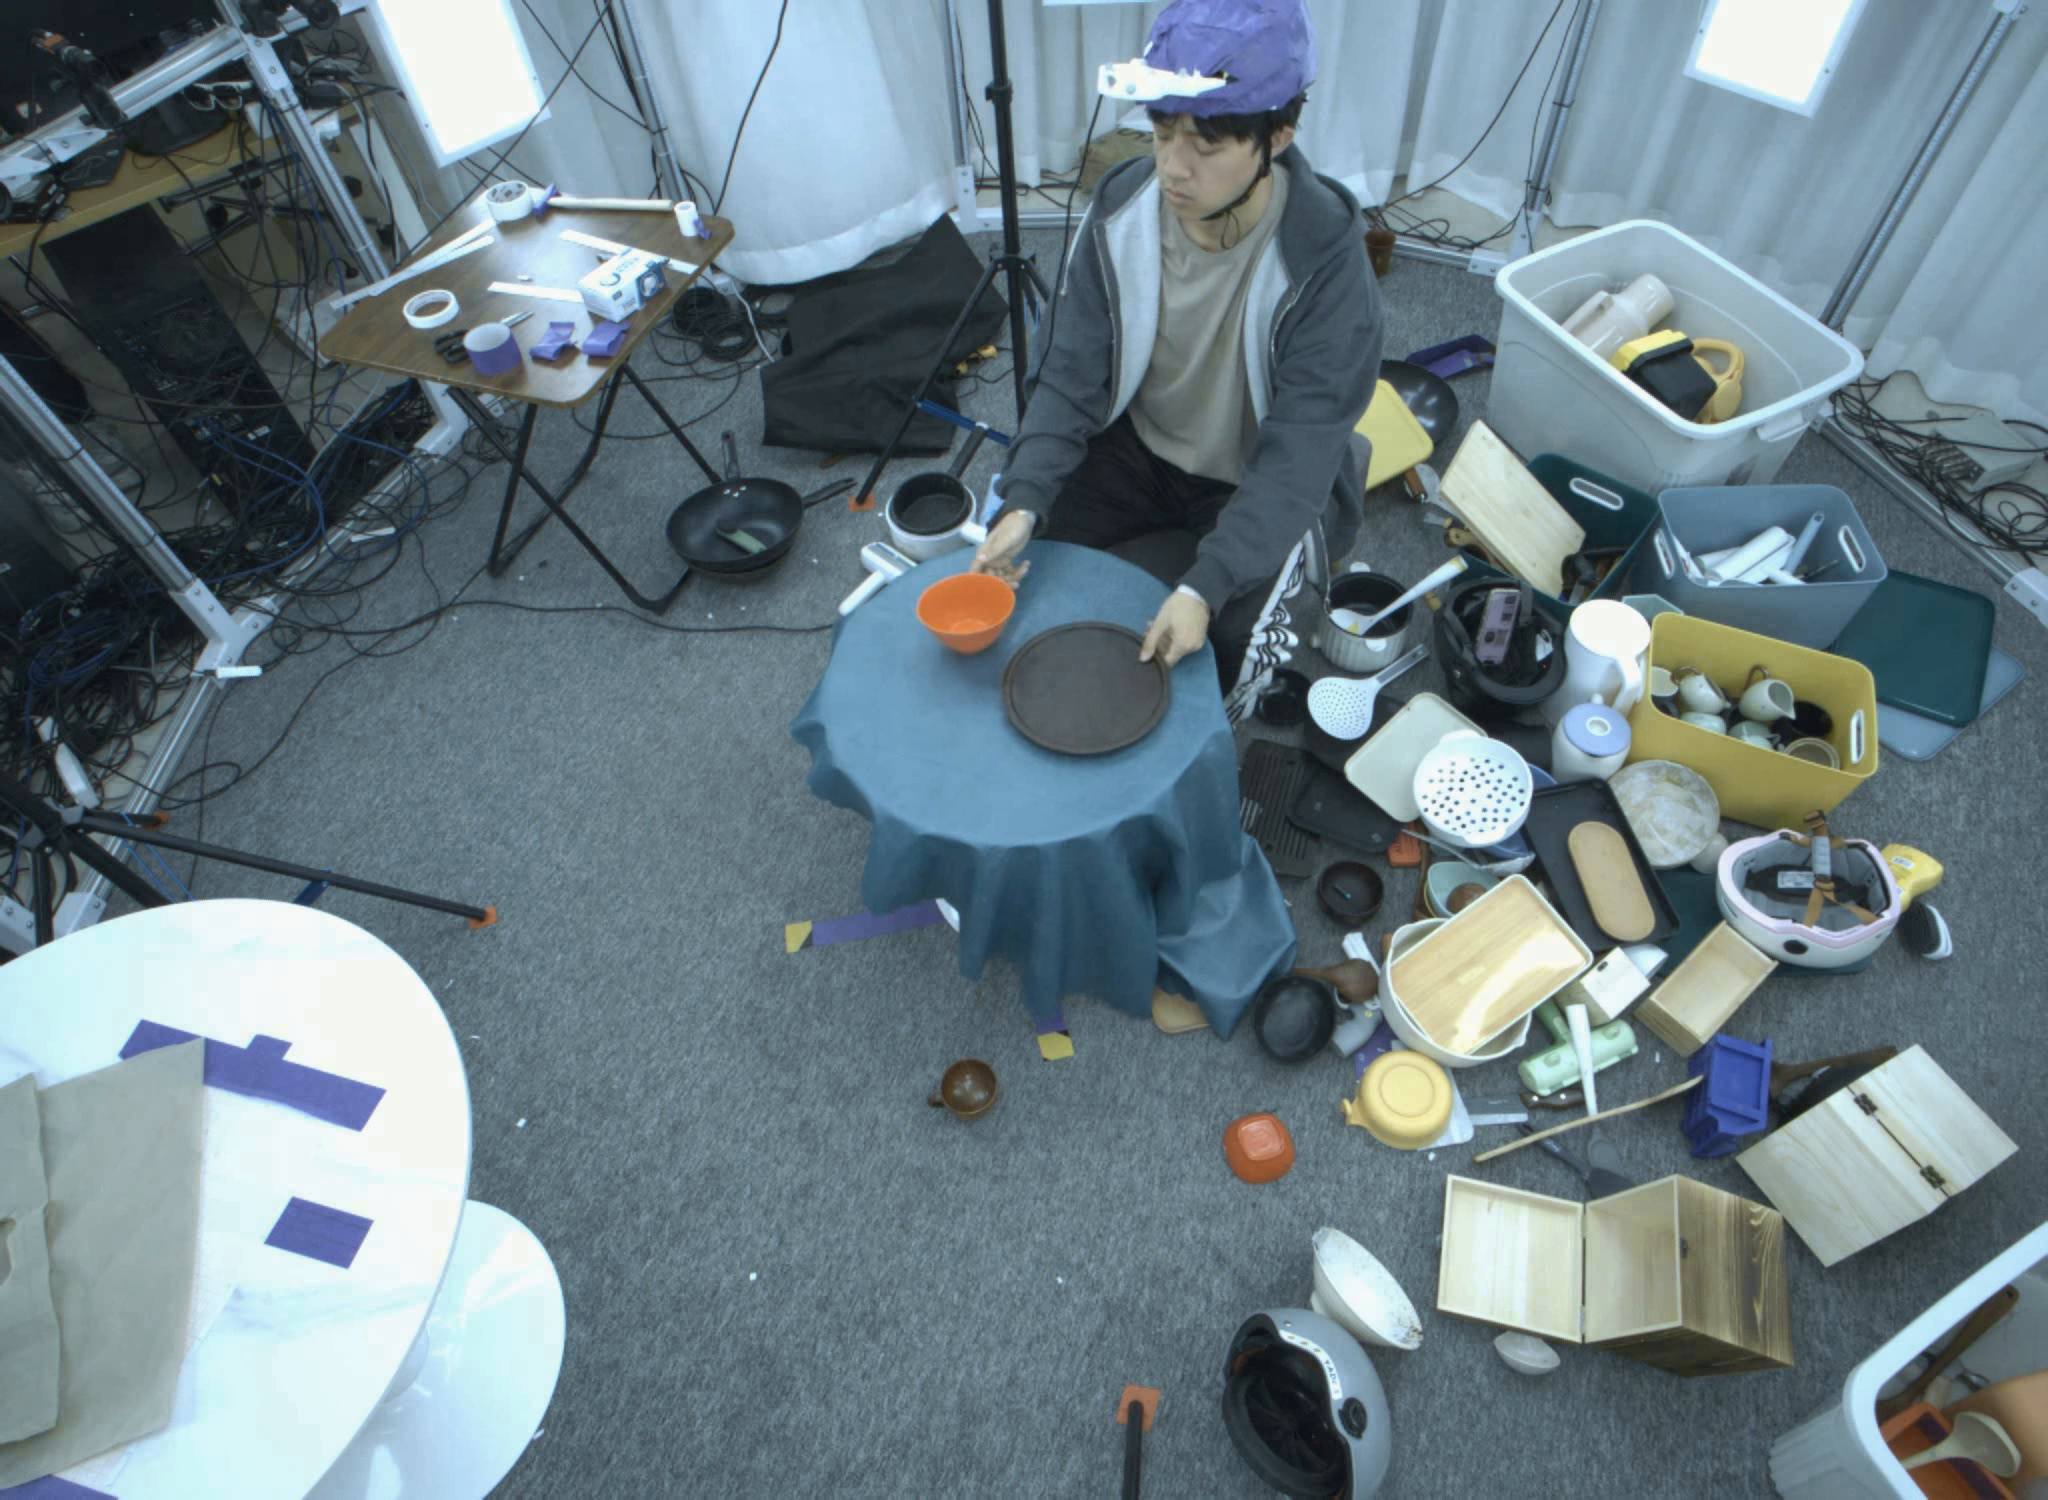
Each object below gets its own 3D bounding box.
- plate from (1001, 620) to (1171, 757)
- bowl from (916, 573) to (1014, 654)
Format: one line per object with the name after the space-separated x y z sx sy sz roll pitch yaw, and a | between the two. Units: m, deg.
0.093 -0.093 1.836 0.254 0.029 0.252 -2 54 4 | plate
-0.085 -0.195 1.869 0.148 0.106 0.146 -2 55 4 | bowl
